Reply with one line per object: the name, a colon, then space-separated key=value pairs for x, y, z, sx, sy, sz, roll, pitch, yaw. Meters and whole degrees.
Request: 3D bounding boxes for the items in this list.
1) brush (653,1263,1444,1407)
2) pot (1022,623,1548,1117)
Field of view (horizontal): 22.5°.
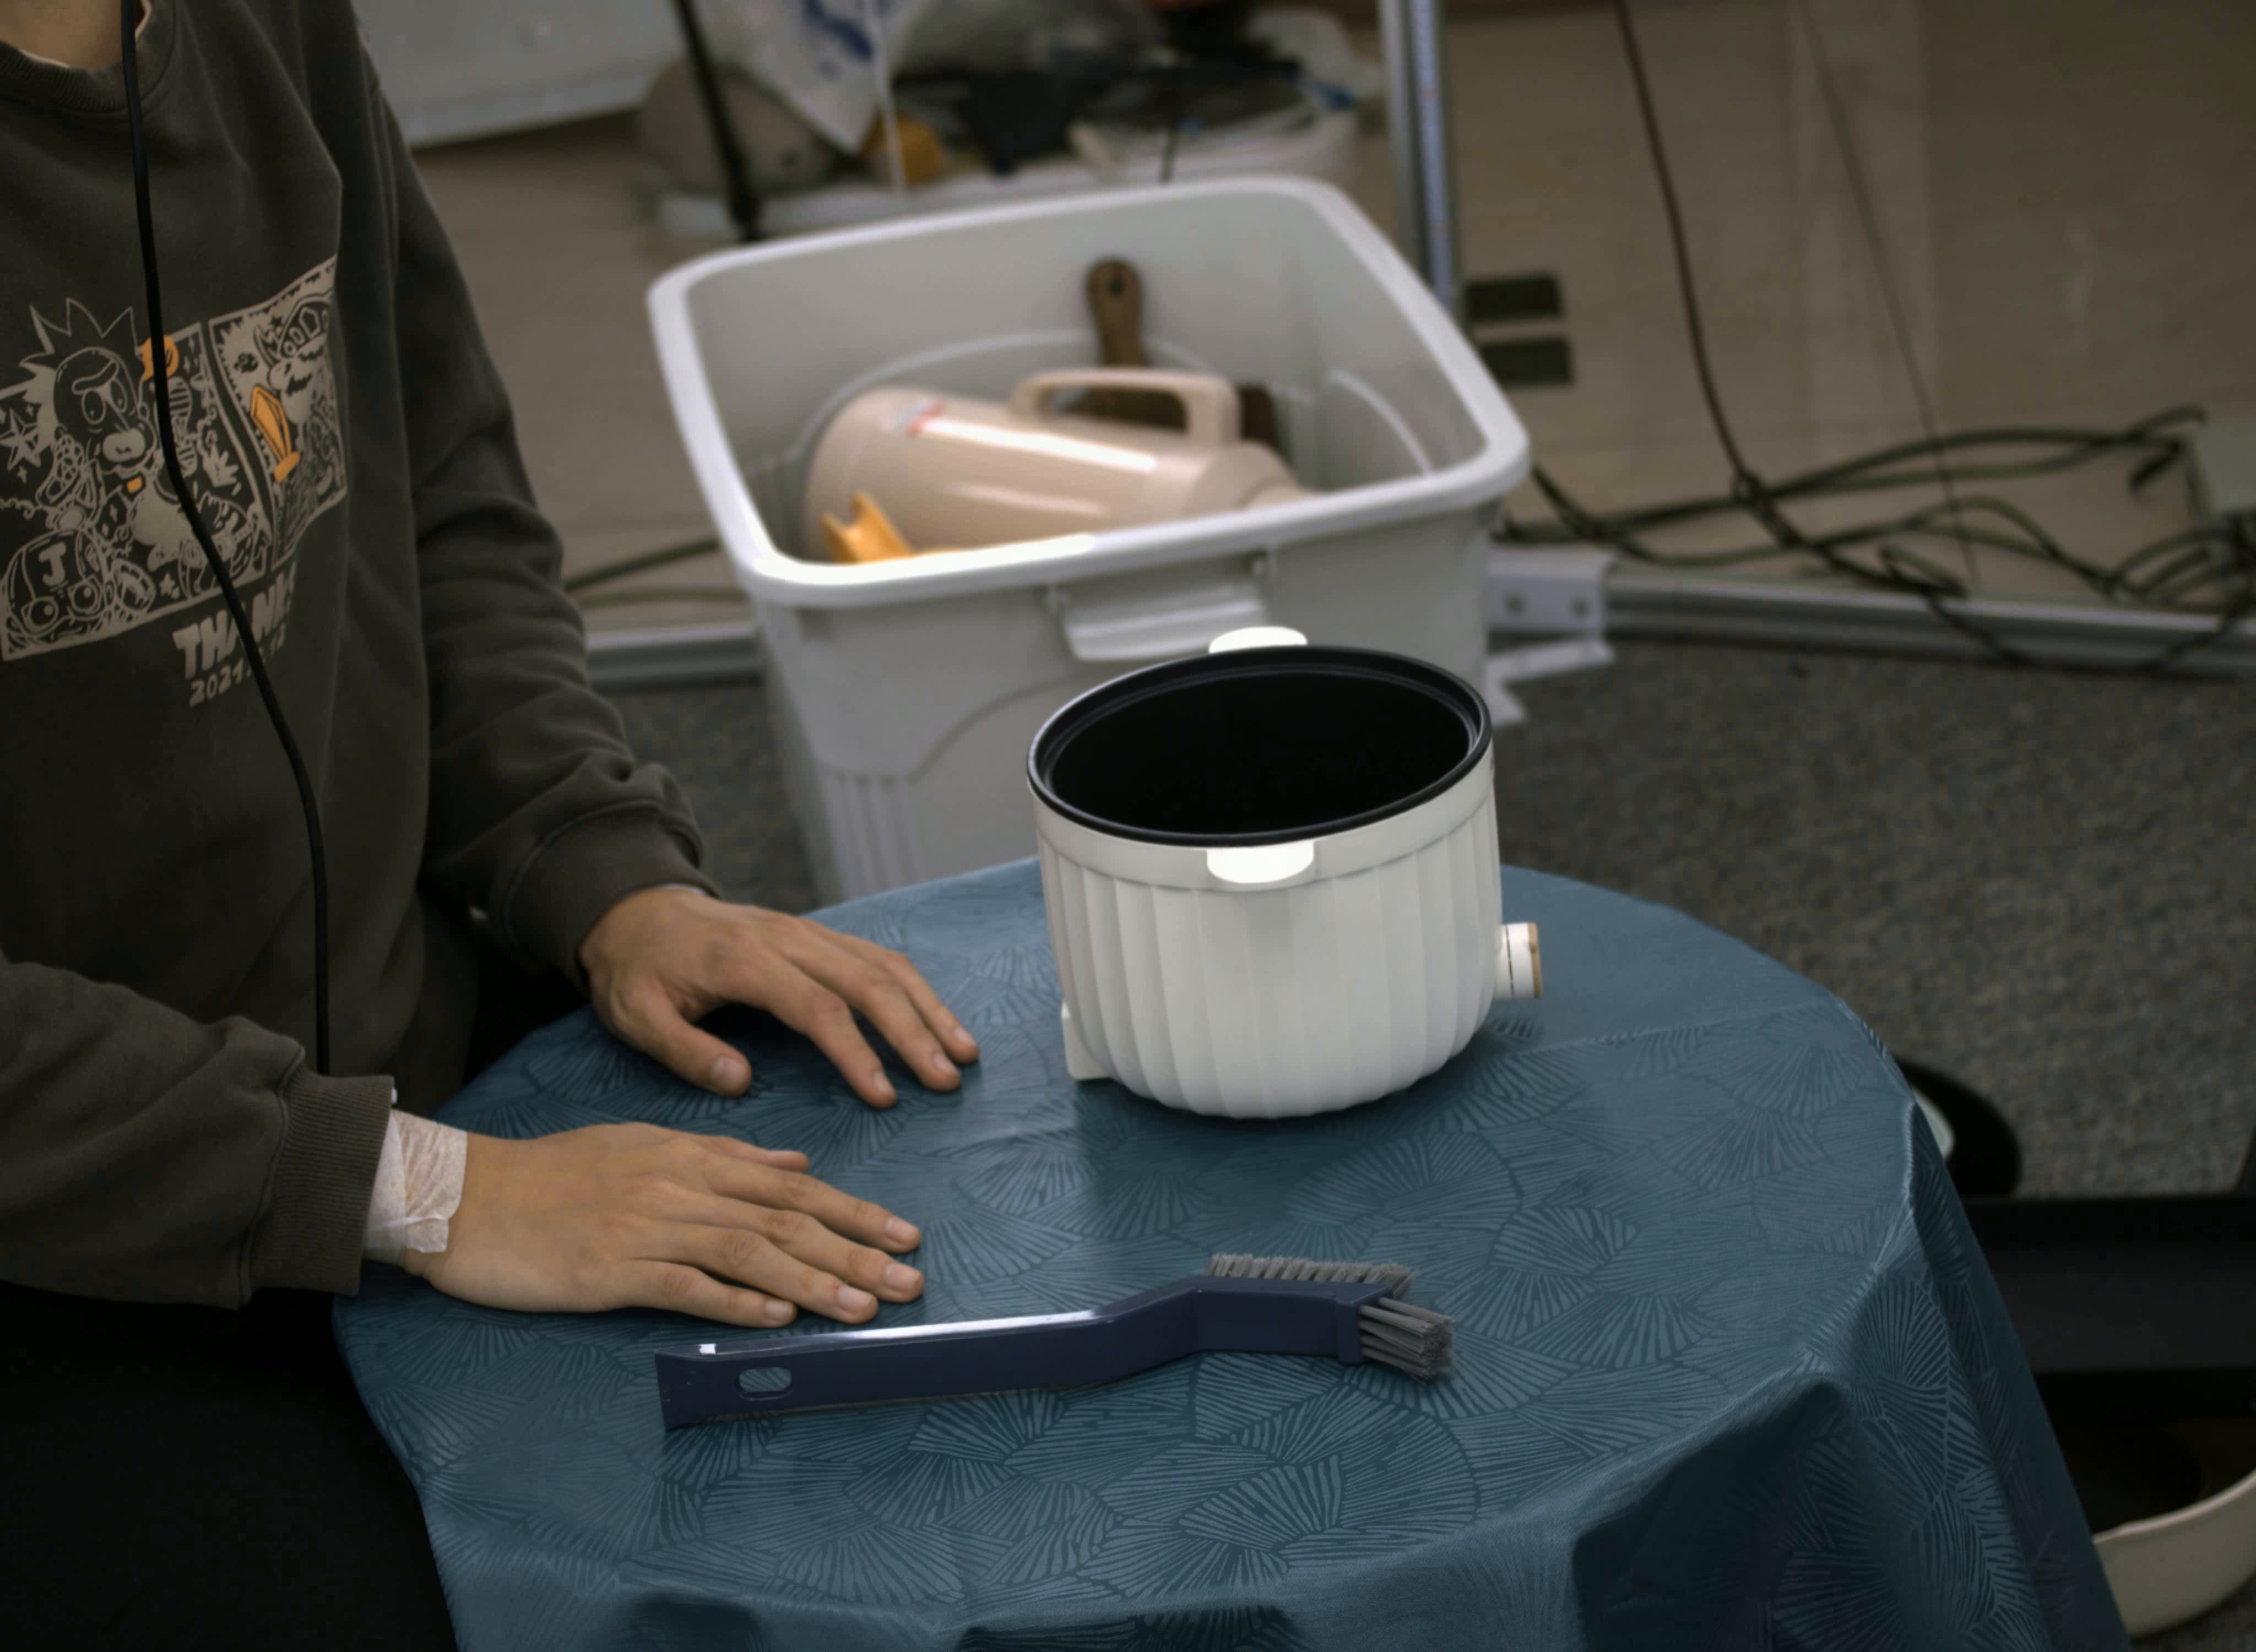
brush: x=-0.030 y=0.188 z=2.012 sx=0.272 sy=0.034 sz=0.094 roll=-8 pitch=25 yaw=-6
pot: x=0.063 y=0.023 z=2.210 sx=0.190 sy=0.145 sz=0.237 roll=-9 pitch=26 yaw=5
